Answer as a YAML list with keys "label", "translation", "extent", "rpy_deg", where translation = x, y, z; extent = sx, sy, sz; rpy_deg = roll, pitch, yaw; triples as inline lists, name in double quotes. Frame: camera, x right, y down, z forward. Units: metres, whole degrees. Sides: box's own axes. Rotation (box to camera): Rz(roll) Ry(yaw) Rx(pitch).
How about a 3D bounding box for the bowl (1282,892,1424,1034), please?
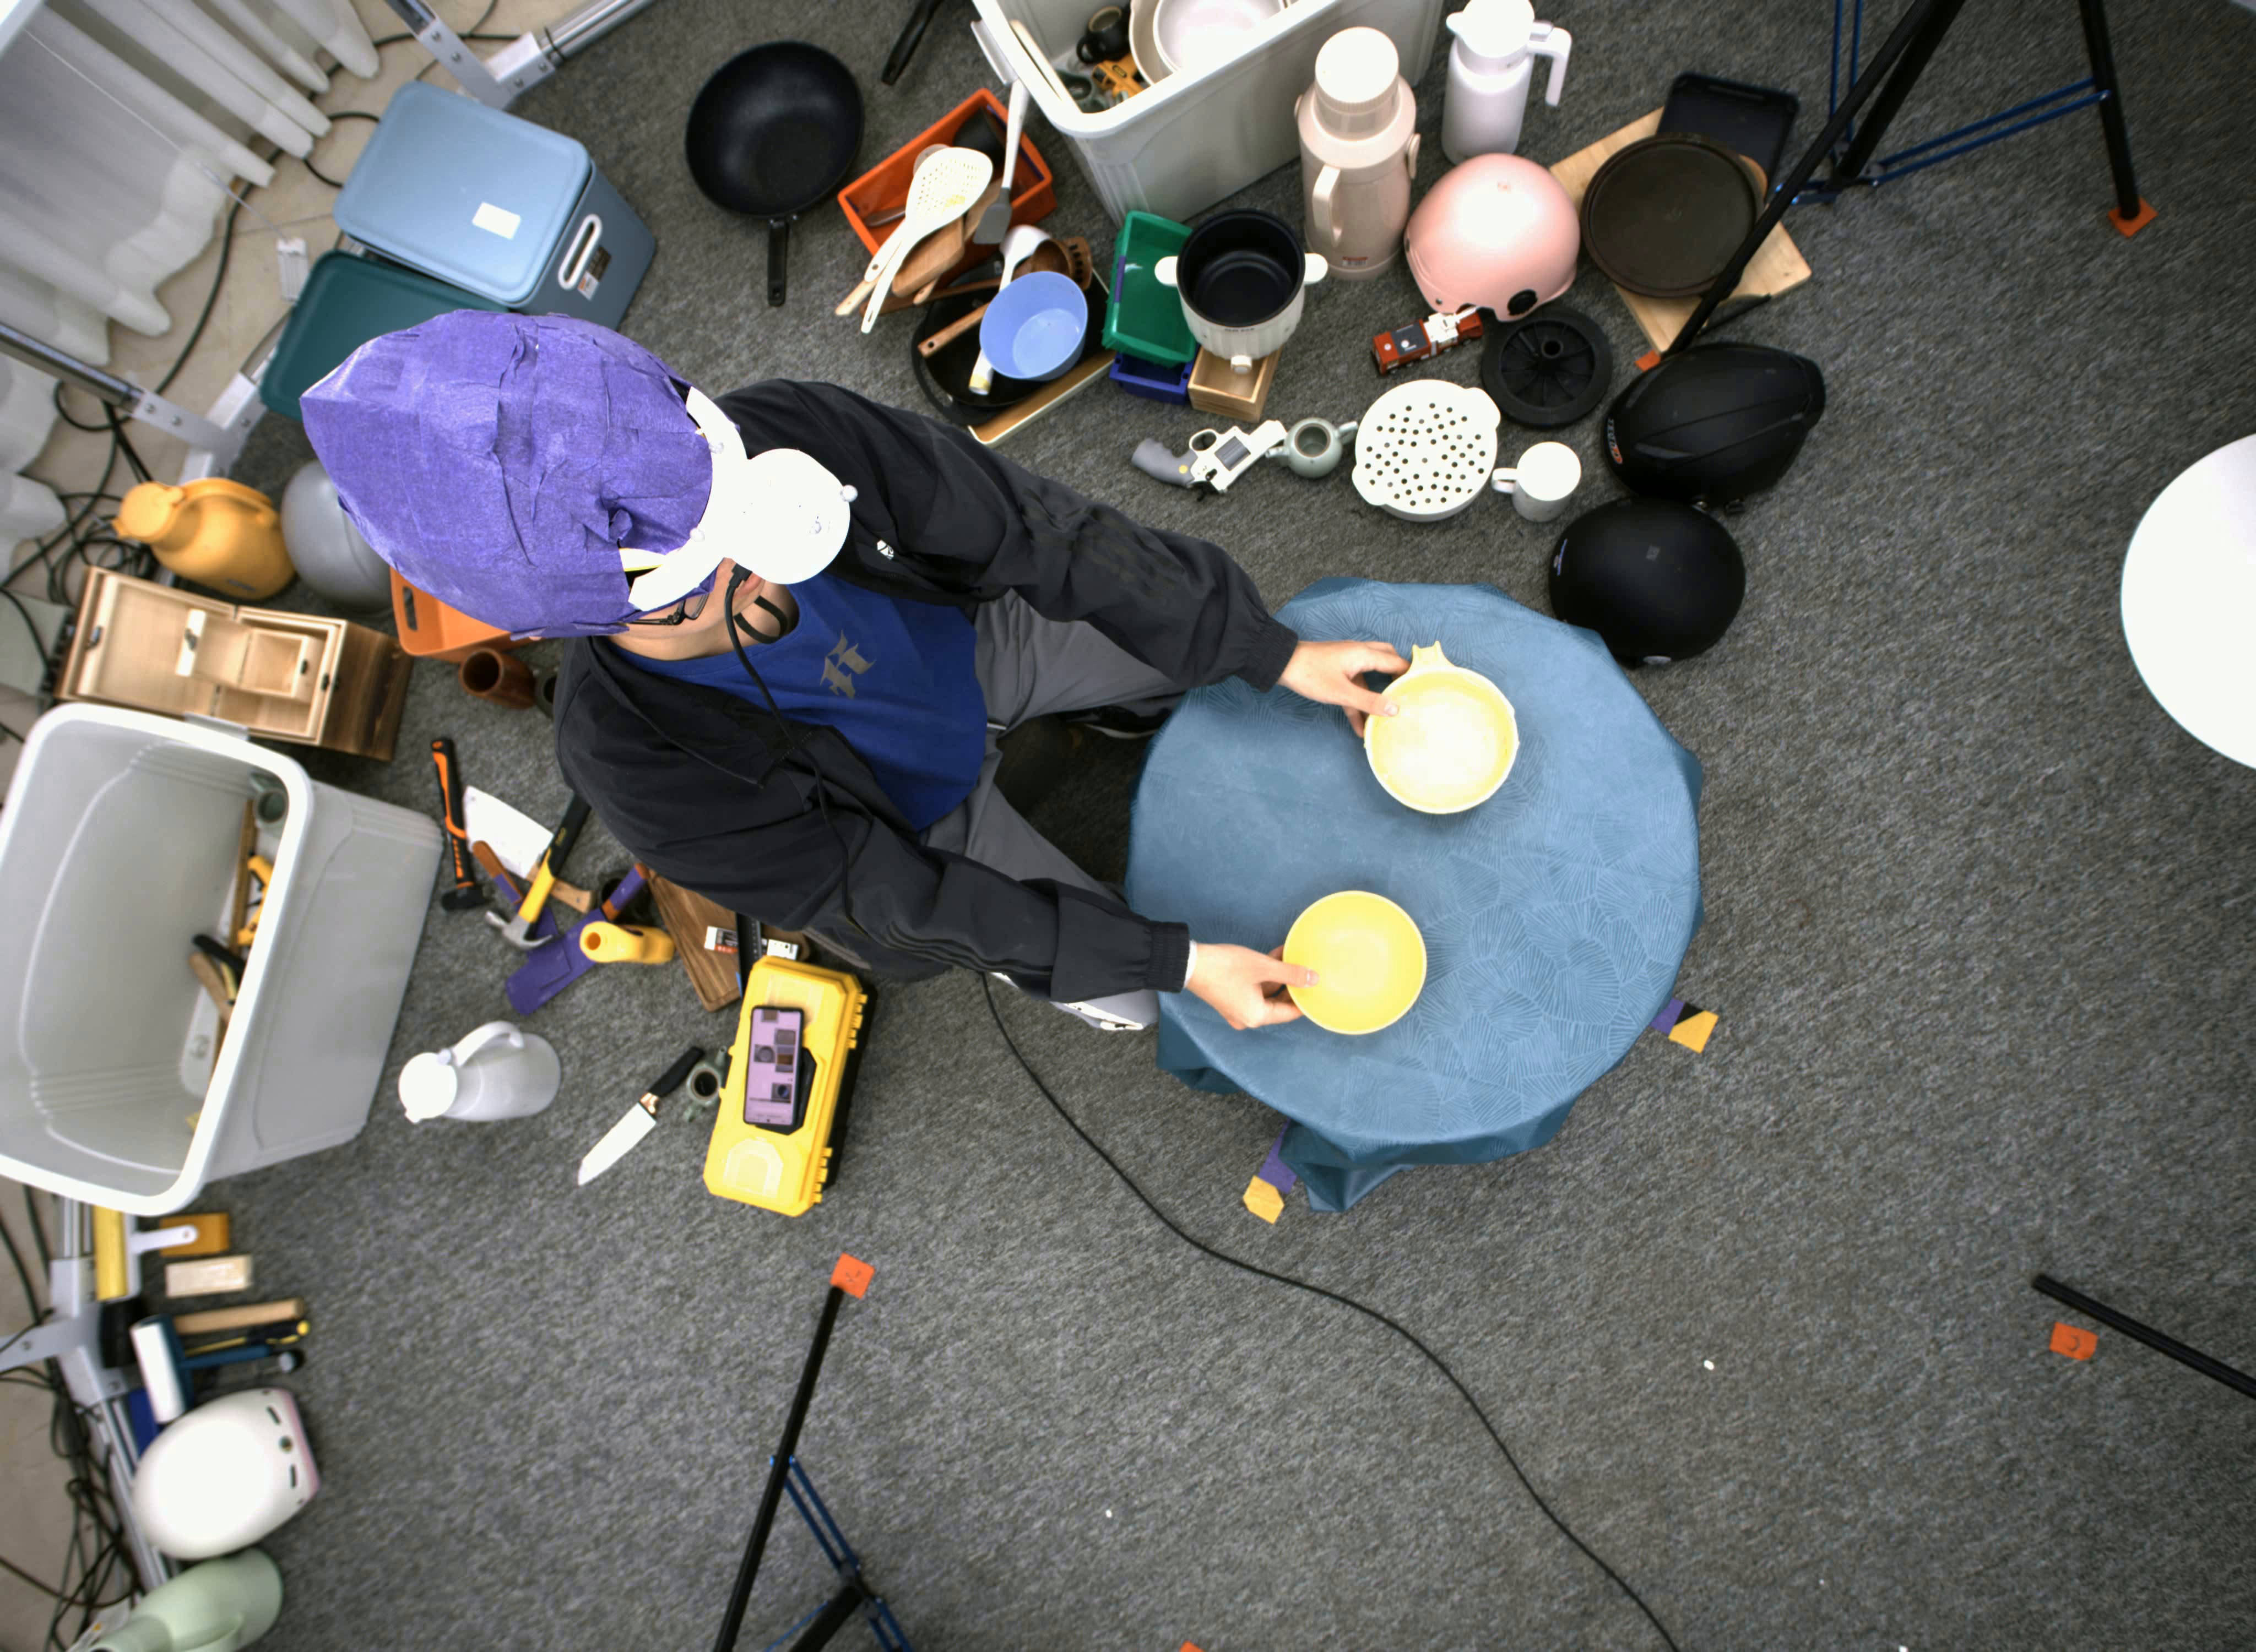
- label: "bowl"
  translation: [0.232, 0.142, 1.432]
  extent: [0.146, 0.060, 0.144]
  rpy_deg: [-1, 84, 9]

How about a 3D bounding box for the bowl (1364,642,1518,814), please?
- label: "bowl"
  translation: [0.322, -0.100, 1.422]
  extent: [0.154, 0.074, 0.178]
  rpy_deg: [-12, 85, 13]
